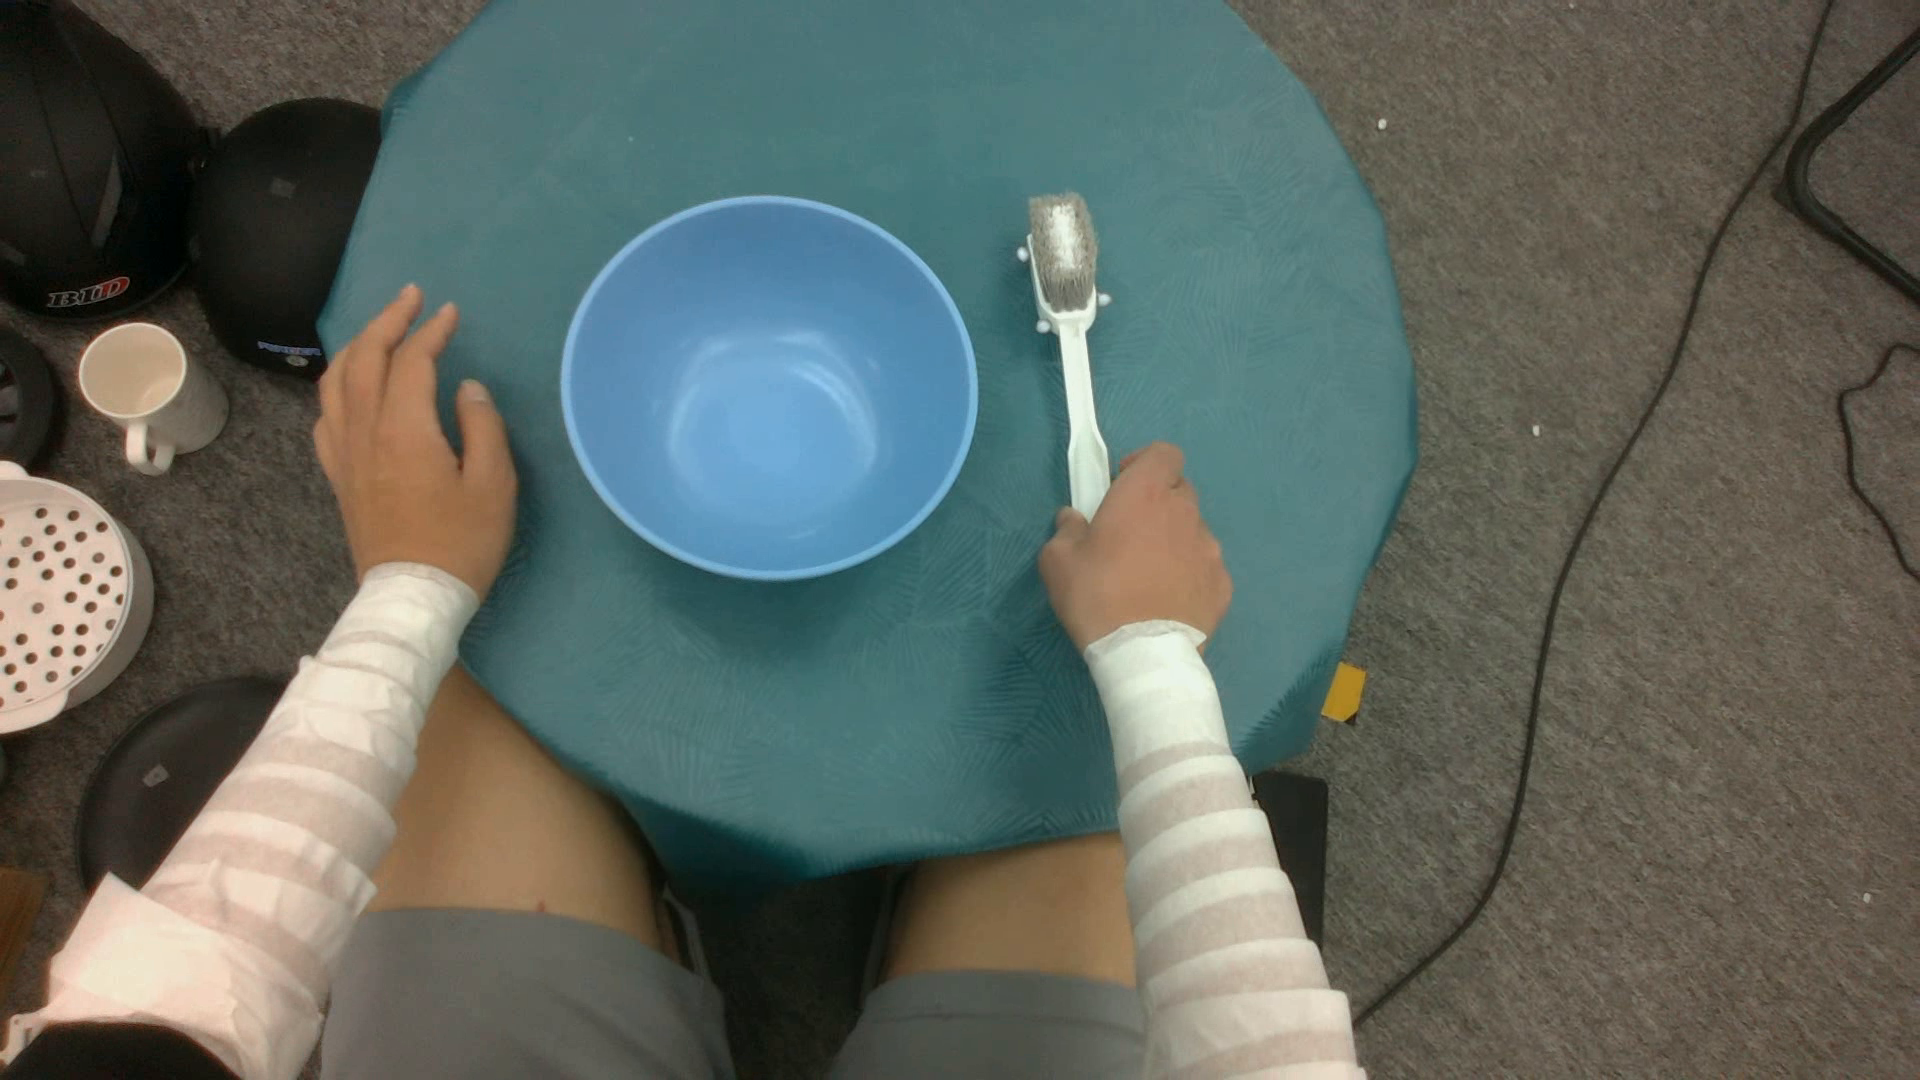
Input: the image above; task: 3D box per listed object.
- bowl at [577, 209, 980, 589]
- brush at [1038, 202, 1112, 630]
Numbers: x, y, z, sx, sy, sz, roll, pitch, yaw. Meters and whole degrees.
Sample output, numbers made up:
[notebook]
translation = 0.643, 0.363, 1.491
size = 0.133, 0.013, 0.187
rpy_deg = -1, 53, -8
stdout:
[bowl]
translation = -0.093, -0.061, 0.717
size = 0.196, 0.095, 0.197
rpy_deg = 2, 75, -9
[brush]
translation = 0.065, -0.073, 0.761
size = 0.034, 0.050, 0.244
rpy_deg = -3, 74, 4
